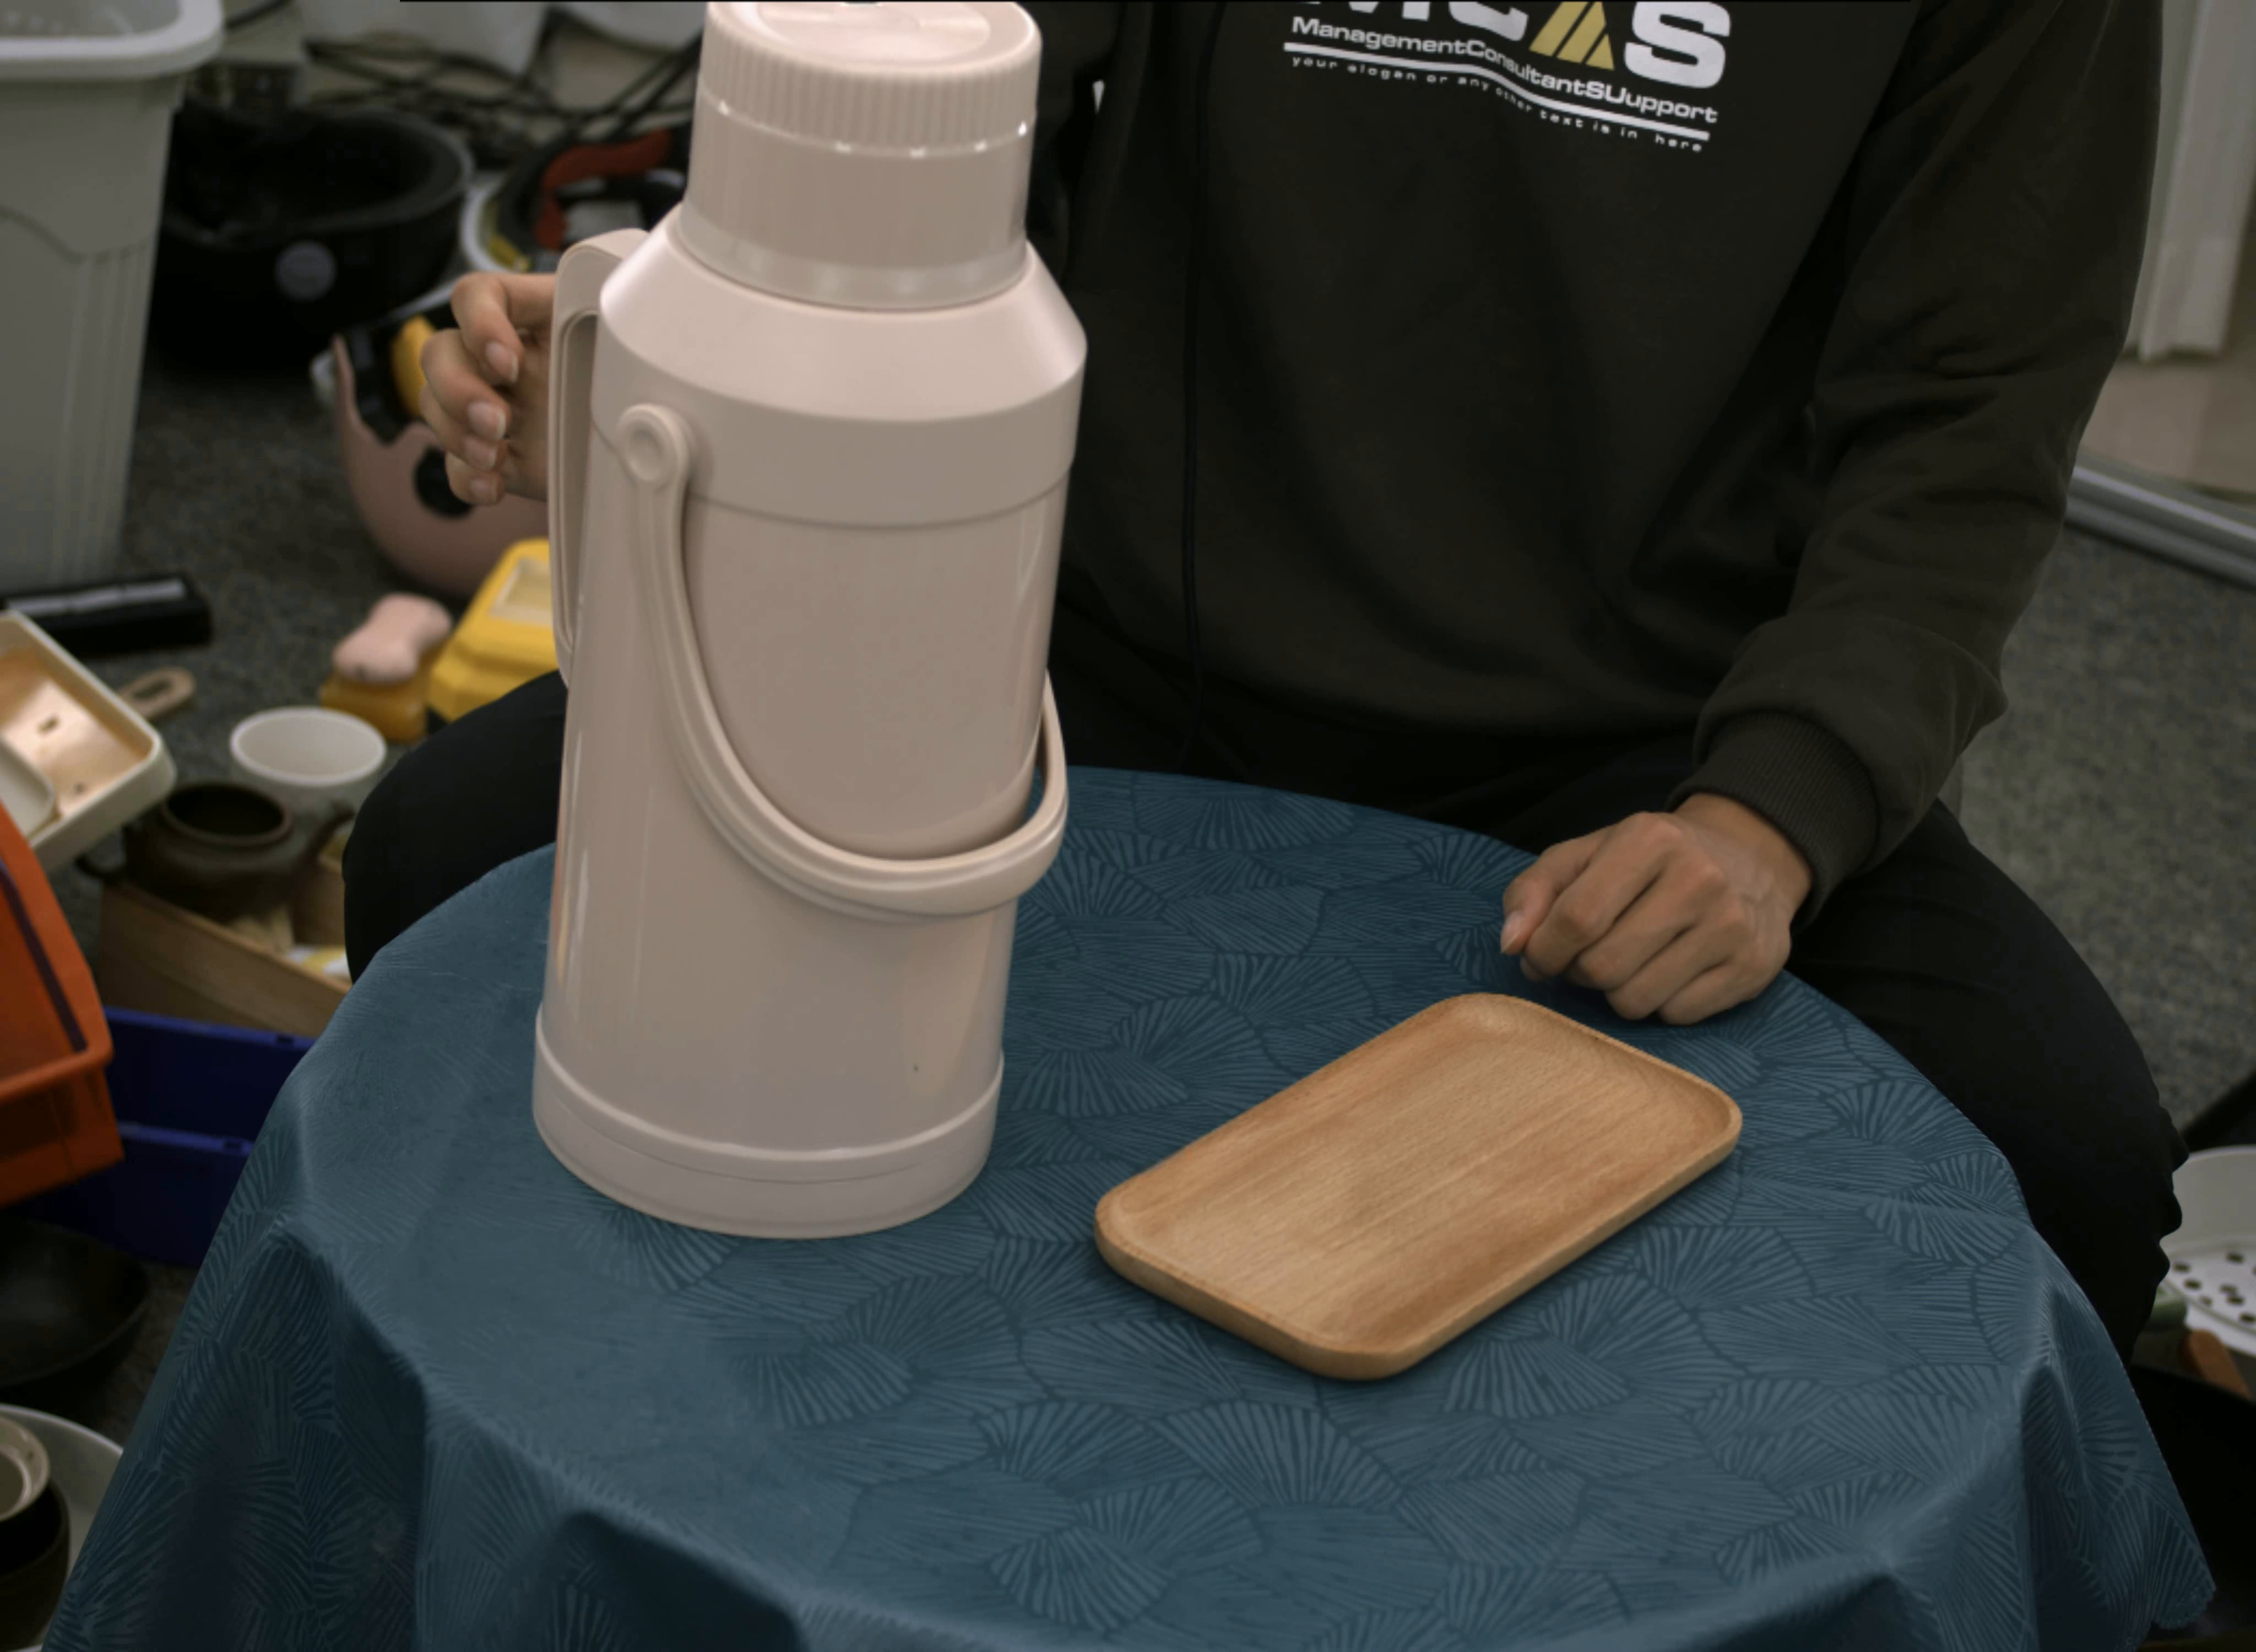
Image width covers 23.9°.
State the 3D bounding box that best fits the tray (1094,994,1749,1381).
[{"bbox_3d":[0.103,0.121,1.819,0.131,0.023,0.250,27,32,30],"label":"tray"}]

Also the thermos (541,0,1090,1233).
[{"bbox_3d":[-0.110,-0.082,1.747,0.208,0.405,0.174,26,33,32],"label":"thermos"}]
